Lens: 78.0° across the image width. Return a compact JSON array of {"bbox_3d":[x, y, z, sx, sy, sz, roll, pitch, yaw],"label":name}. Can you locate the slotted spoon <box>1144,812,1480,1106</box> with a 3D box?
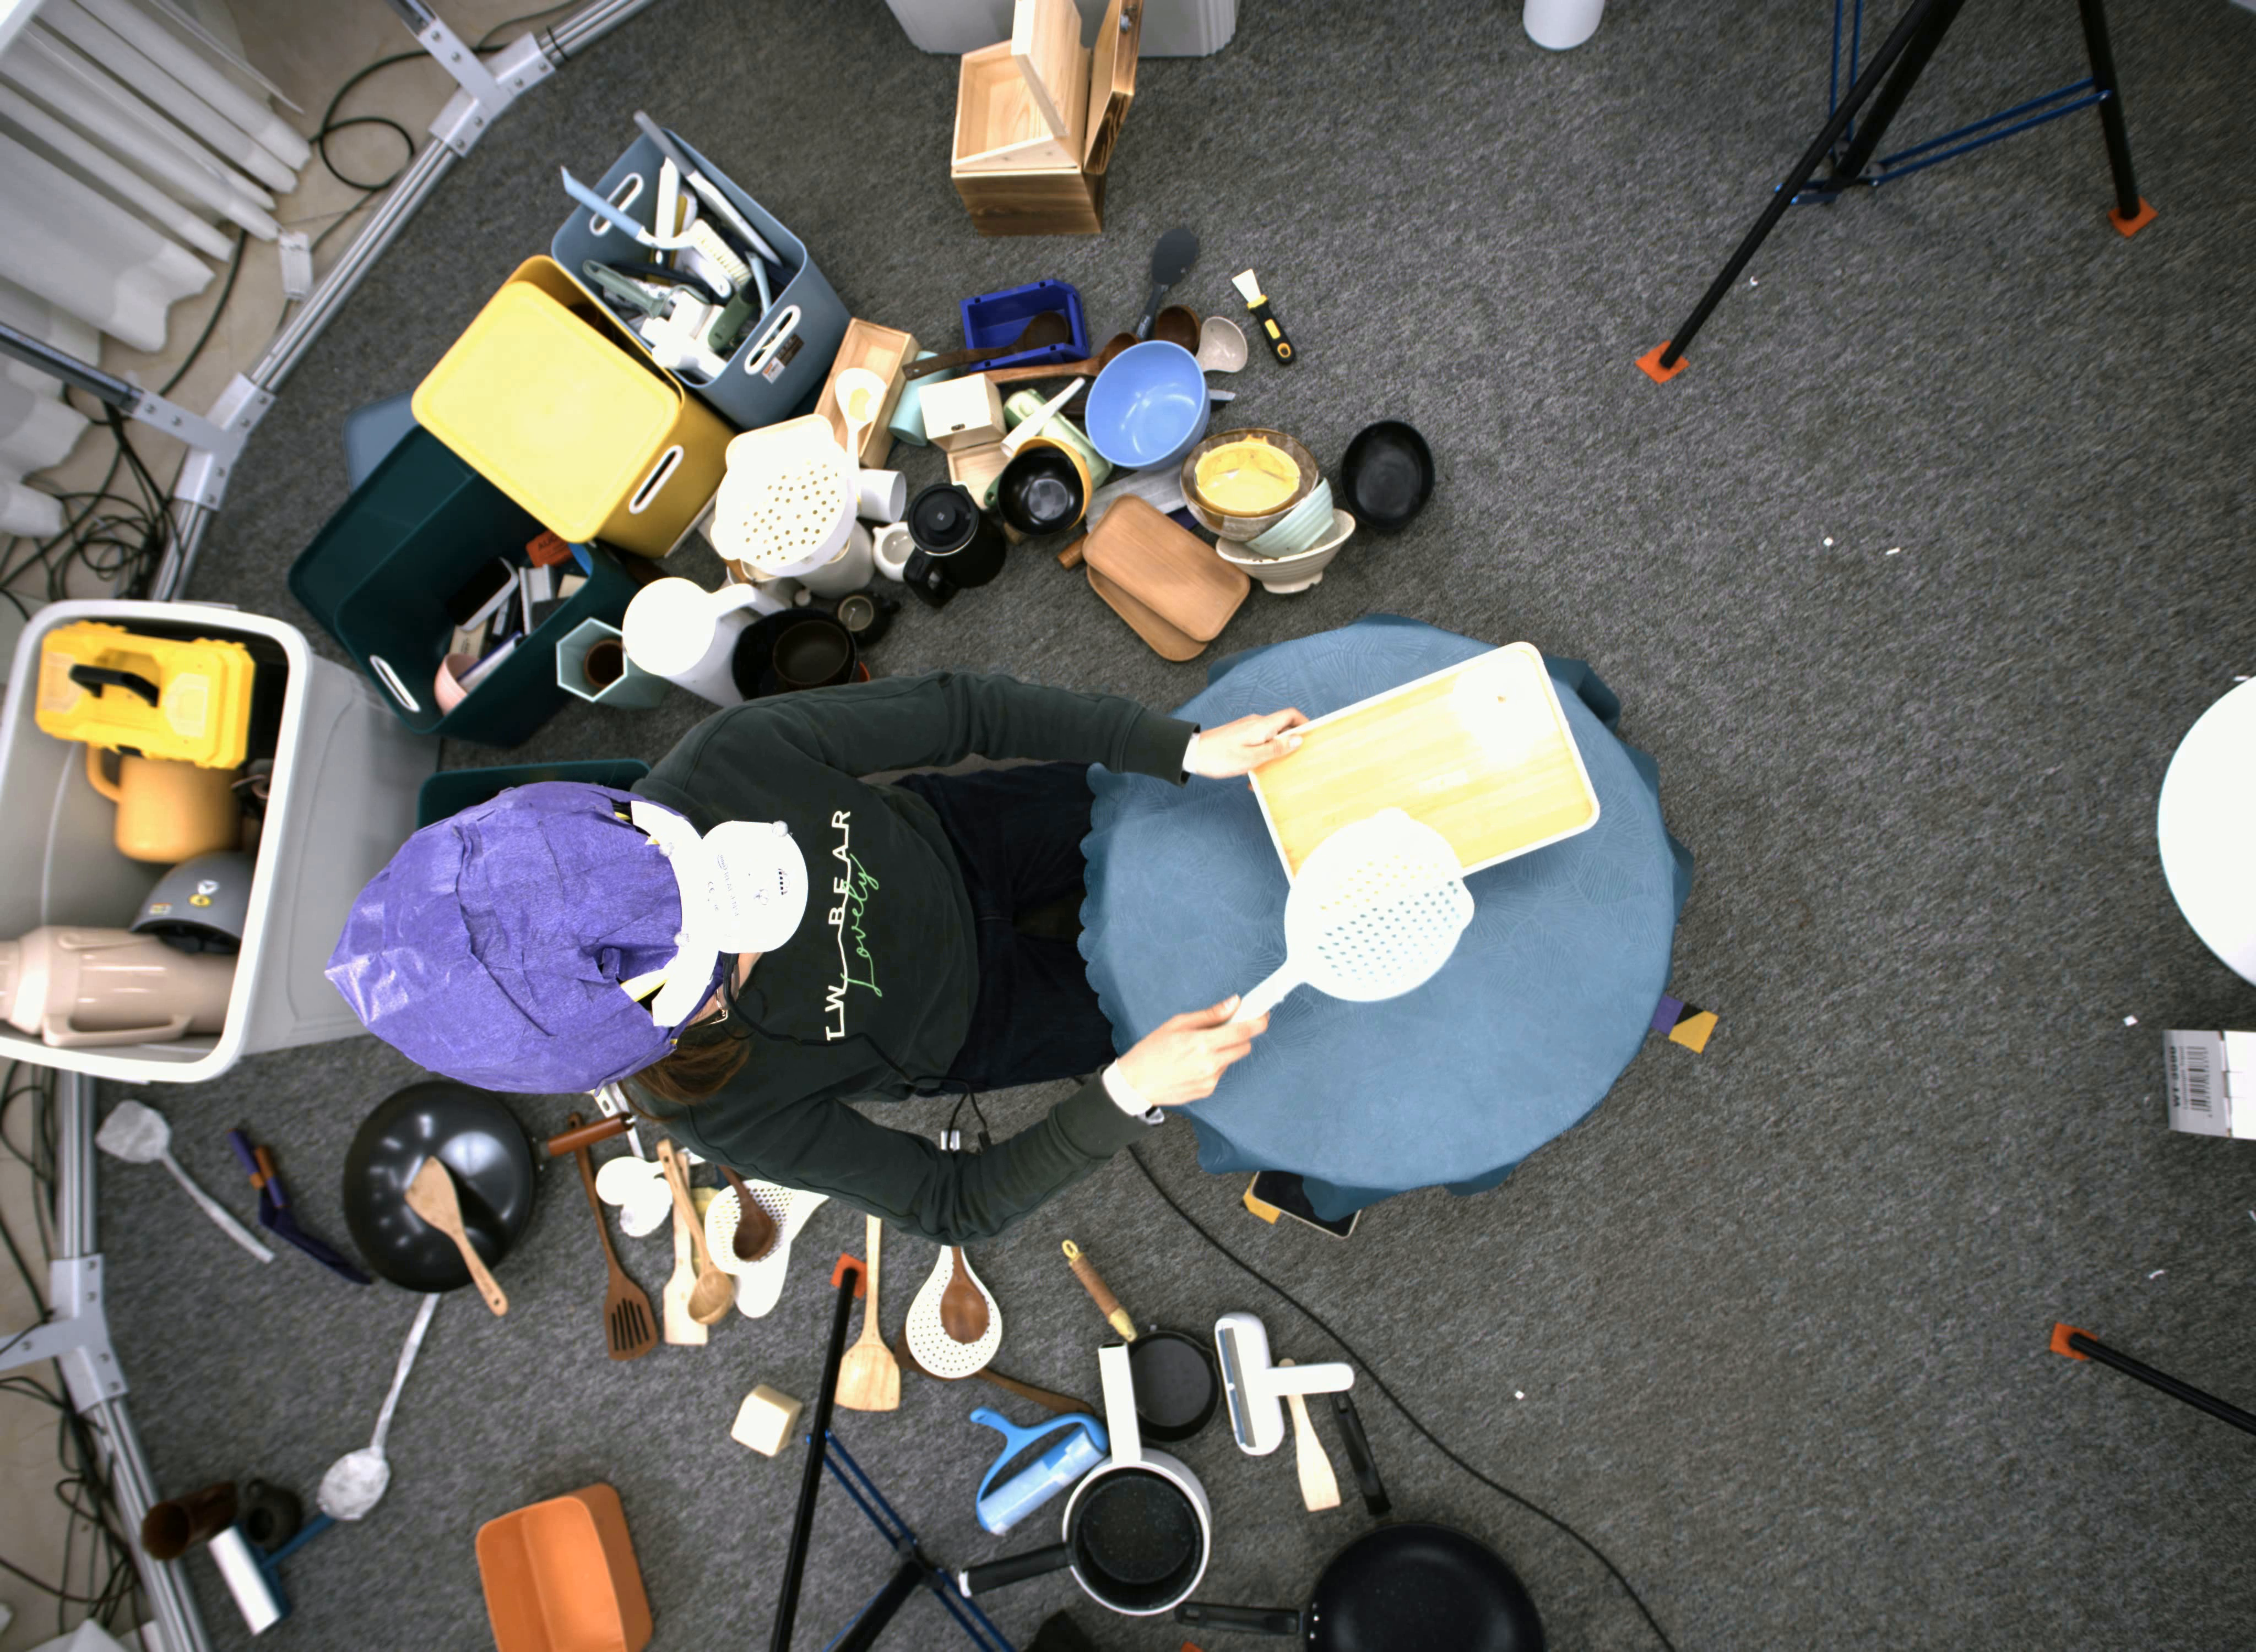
[{"bbox_3d":[0.150,0.138,1.240,0.361,0.076,0.166,-35,50,7],"label":"slotted spoon"}]

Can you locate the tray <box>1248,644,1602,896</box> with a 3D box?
[{"bbox_3d":[0.284,-0.040,1.334,0.302,0.027,0.191,-21,86,12],"label":"tray"}]
